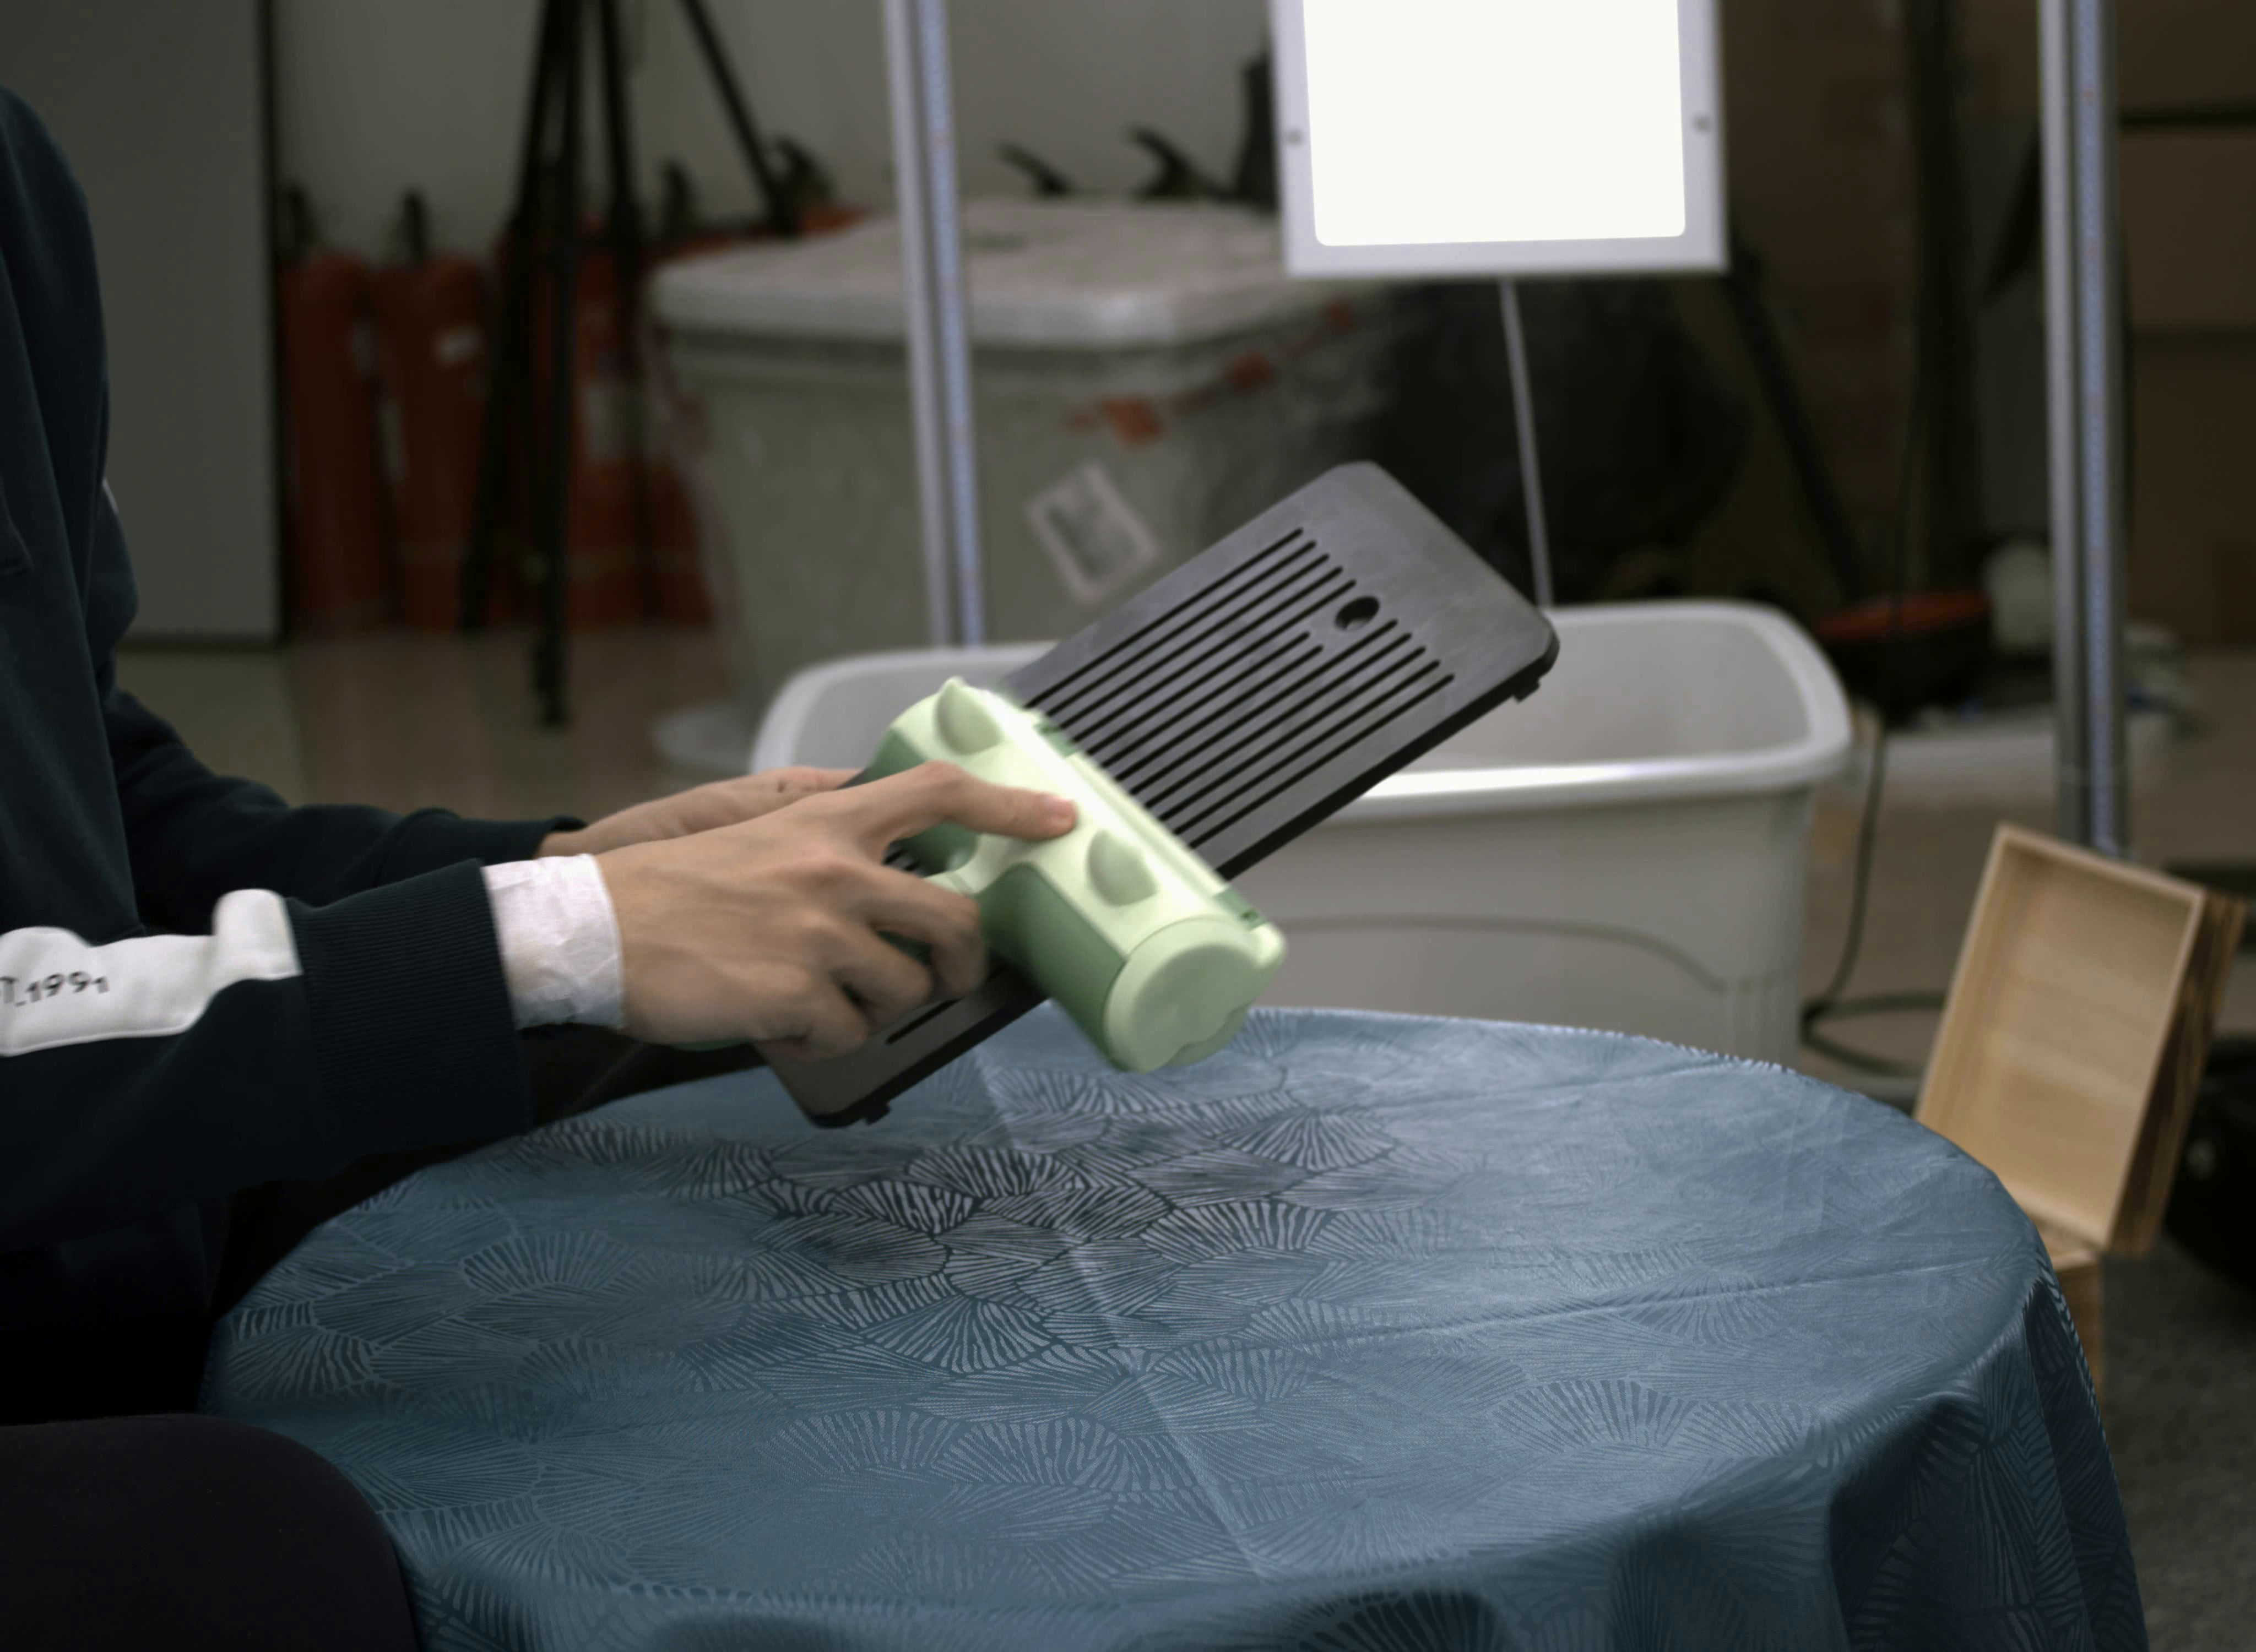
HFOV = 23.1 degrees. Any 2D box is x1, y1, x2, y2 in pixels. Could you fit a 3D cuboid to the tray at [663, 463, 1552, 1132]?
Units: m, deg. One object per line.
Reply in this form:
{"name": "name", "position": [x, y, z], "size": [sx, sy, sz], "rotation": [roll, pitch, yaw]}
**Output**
{"name": "tray", "position": [-0.009, -0.011, 1.912], "size": [0.305, 0.018, 0.172], "rotation": [-34, 34, -4]}

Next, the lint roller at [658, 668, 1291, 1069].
{"name": "lint roller", "position": [-0.069, 0.018, 1.800], "size": [0.180, 0.082, 0.201], "rotation": [-12, 31, -22]}
